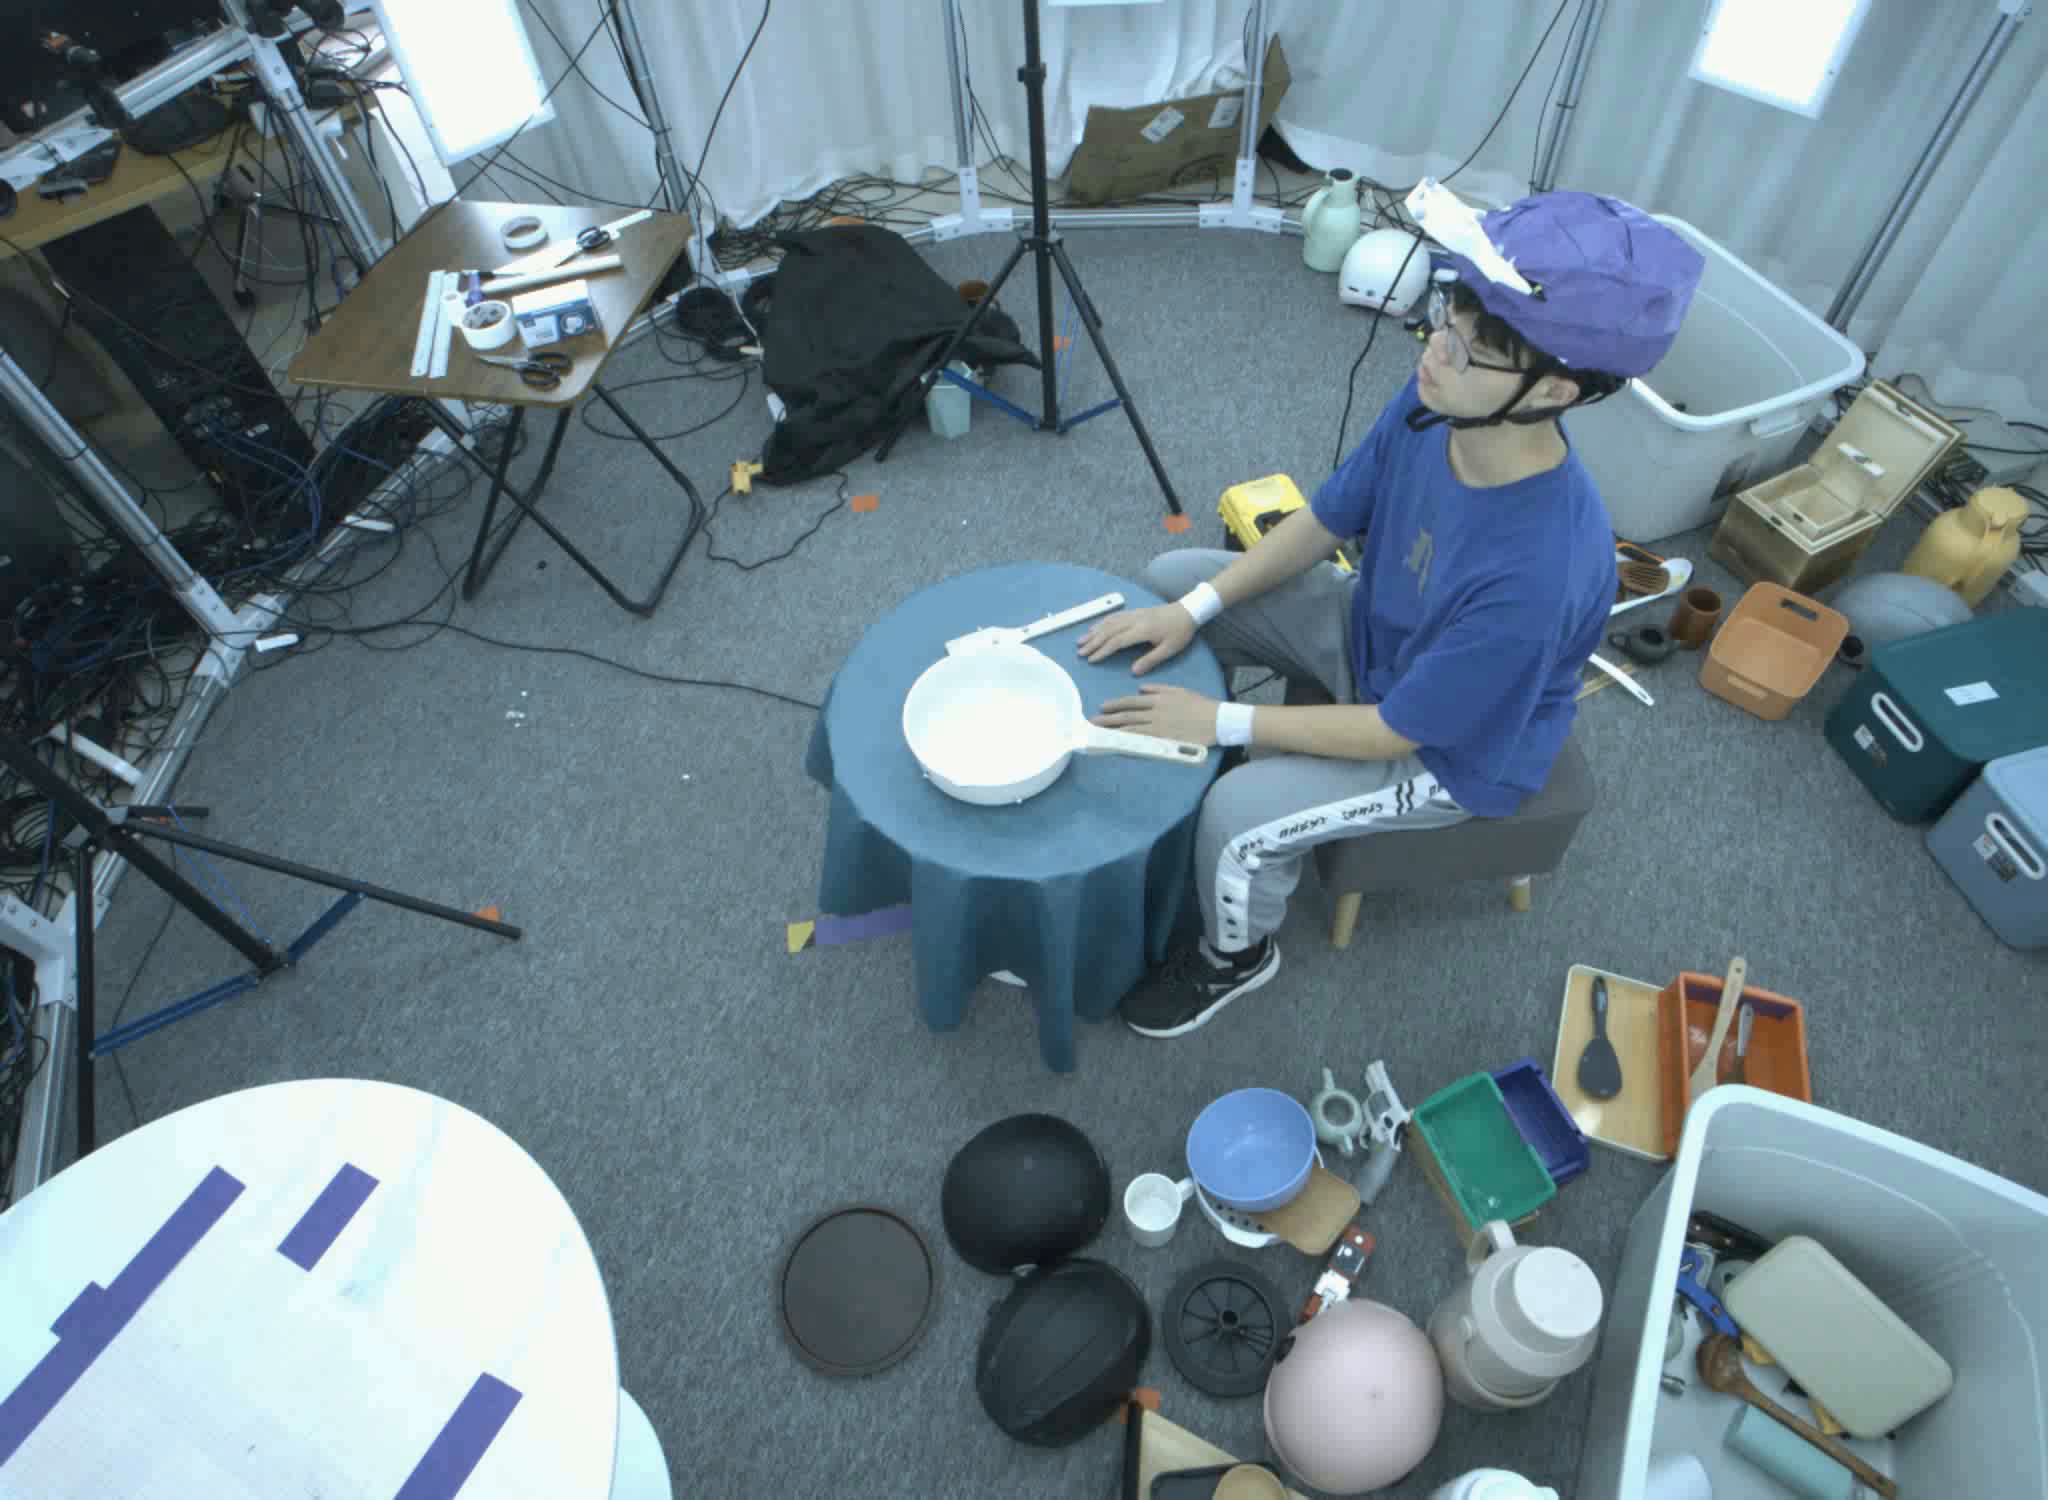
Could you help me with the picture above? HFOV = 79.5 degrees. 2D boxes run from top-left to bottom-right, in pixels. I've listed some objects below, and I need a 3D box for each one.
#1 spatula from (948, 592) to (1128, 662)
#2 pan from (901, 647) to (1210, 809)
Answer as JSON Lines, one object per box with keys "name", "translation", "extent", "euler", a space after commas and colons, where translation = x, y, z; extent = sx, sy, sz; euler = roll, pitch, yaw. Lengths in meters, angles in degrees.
{"name": "spatula", "translation": [0.026, -0.191, 1.908], "extent": [0.295, 0.011, 0.071], "euler": [-21, 55, -12]}
{"name": "pan", "translation": [0.042, -0.009, 1.722], "extent": [0.431, 0.103, 0.262], "euler": [13, 54, 11]}
